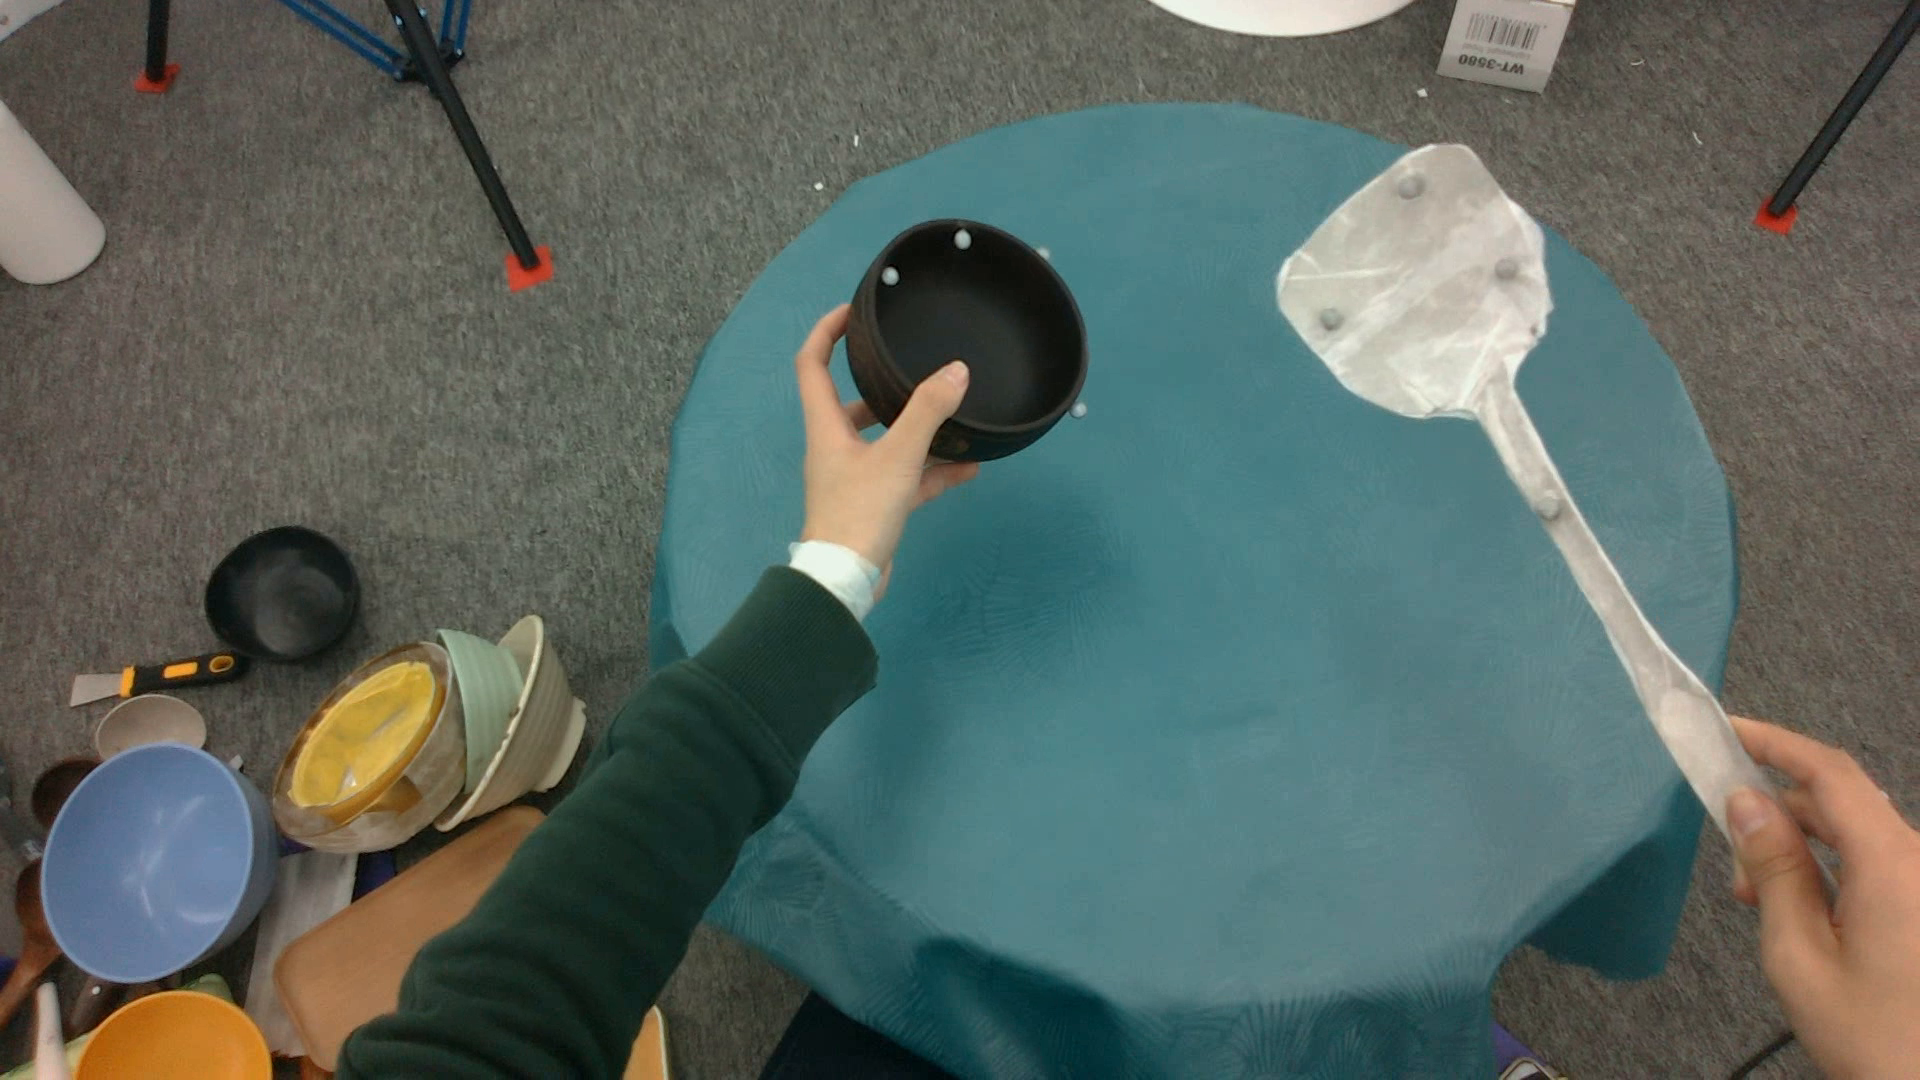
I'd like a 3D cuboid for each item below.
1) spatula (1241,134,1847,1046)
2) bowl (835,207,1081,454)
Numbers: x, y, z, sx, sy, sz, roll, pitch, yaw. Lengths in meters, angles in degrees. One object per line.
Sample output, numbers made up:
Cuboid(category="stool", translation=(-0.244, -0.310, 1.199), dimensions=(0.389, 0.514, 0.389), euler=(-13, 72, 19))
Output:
Cuboid(category="spatula", translation=(0.214, 0.003, 0.509), dimensions=(0.045, 0.098, 0.366), euler=(14, 47, -44))
Cuboid(category="bowl", translation=(-0.007, -0.096, 0.676), dimensions=(0.118, 0.069, 0.118), euler=(8, 68, -22))
